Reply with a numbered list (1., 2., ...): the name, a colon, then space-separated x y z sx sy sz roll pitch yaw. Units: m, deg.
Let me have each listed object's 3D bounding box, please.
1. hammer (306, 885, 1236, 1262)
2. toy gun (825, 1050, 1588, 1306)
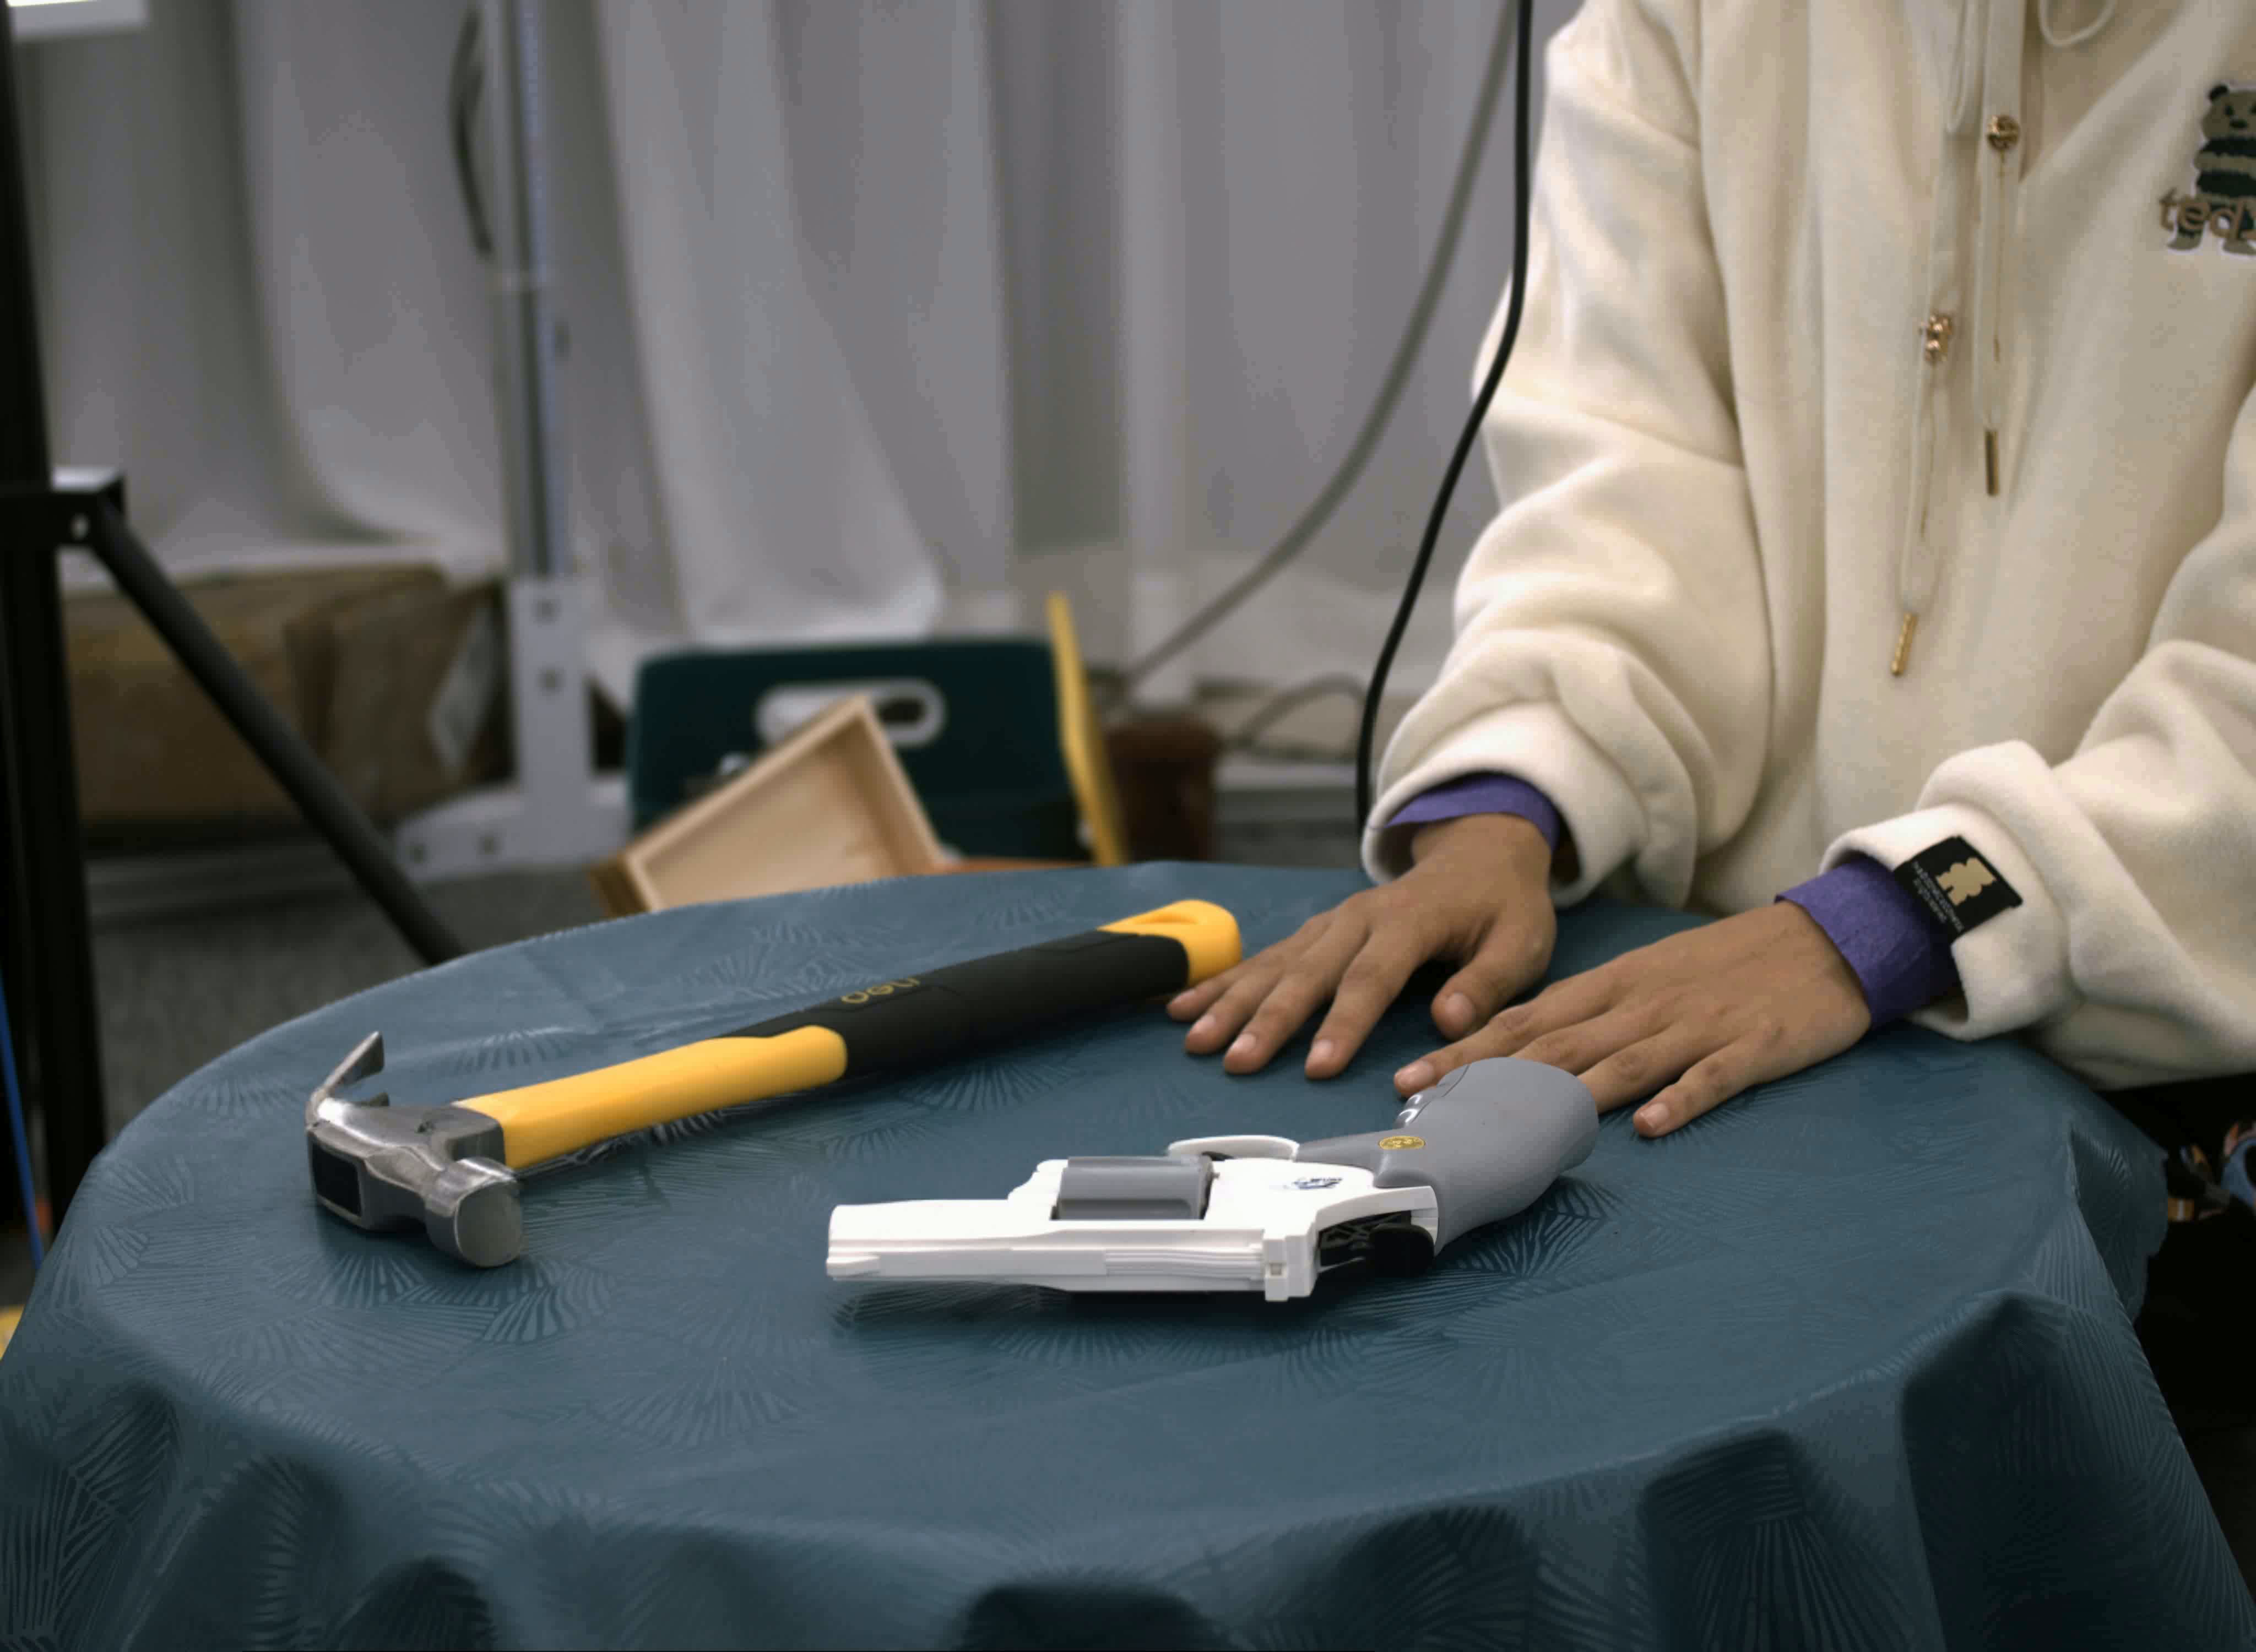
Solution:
1. hammer: -0.102 0.067 1.654 0.331 0.032 0.134 -15 18 -35
2. toy gun: 0.025 0.101 1.504 0.209 0.039 0.141 -1 17 8
